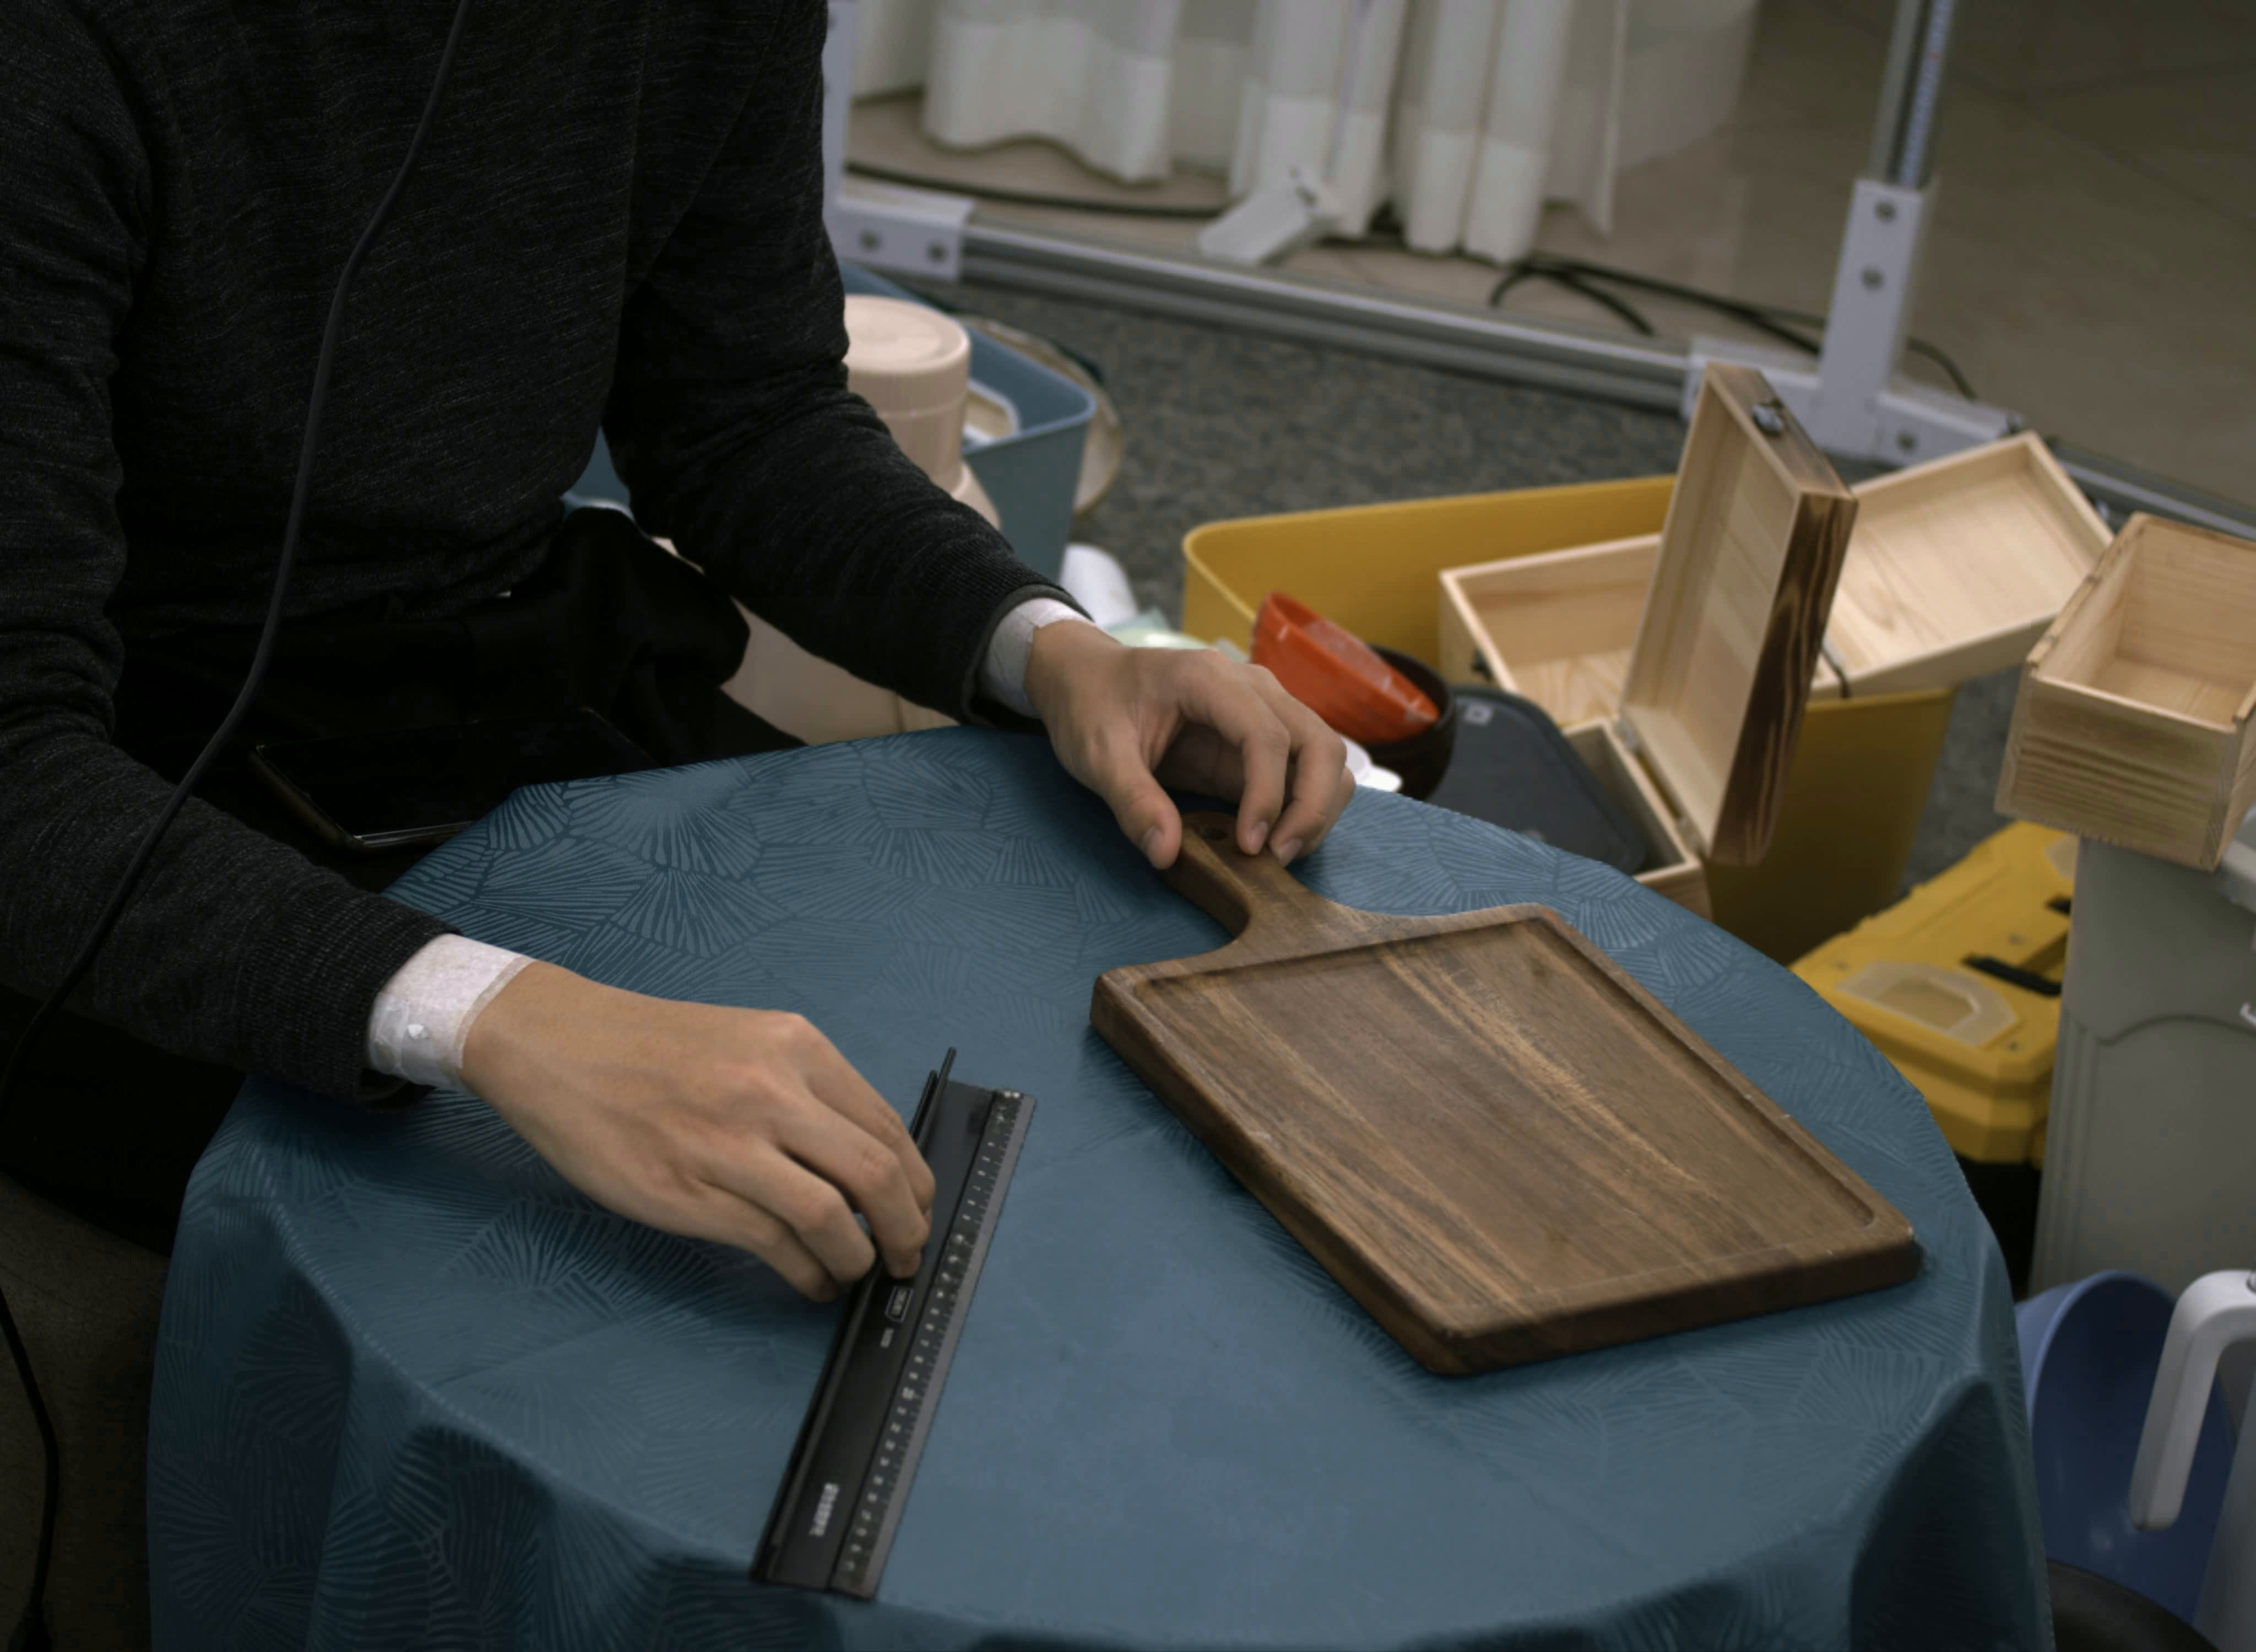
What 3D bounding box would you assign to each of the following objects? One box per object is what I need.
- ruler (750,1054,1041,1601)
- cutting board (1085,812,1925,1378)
[{"bbox_3d":[-0.071,0.154,1.709,0.039,0.017,0.314,11,27,4],"label":"ruler"},{"bbox_3d":[0.104,0.081,1.886,0.200,0.023,0.355,-9,30,-27],"label":"cutting board"}]
